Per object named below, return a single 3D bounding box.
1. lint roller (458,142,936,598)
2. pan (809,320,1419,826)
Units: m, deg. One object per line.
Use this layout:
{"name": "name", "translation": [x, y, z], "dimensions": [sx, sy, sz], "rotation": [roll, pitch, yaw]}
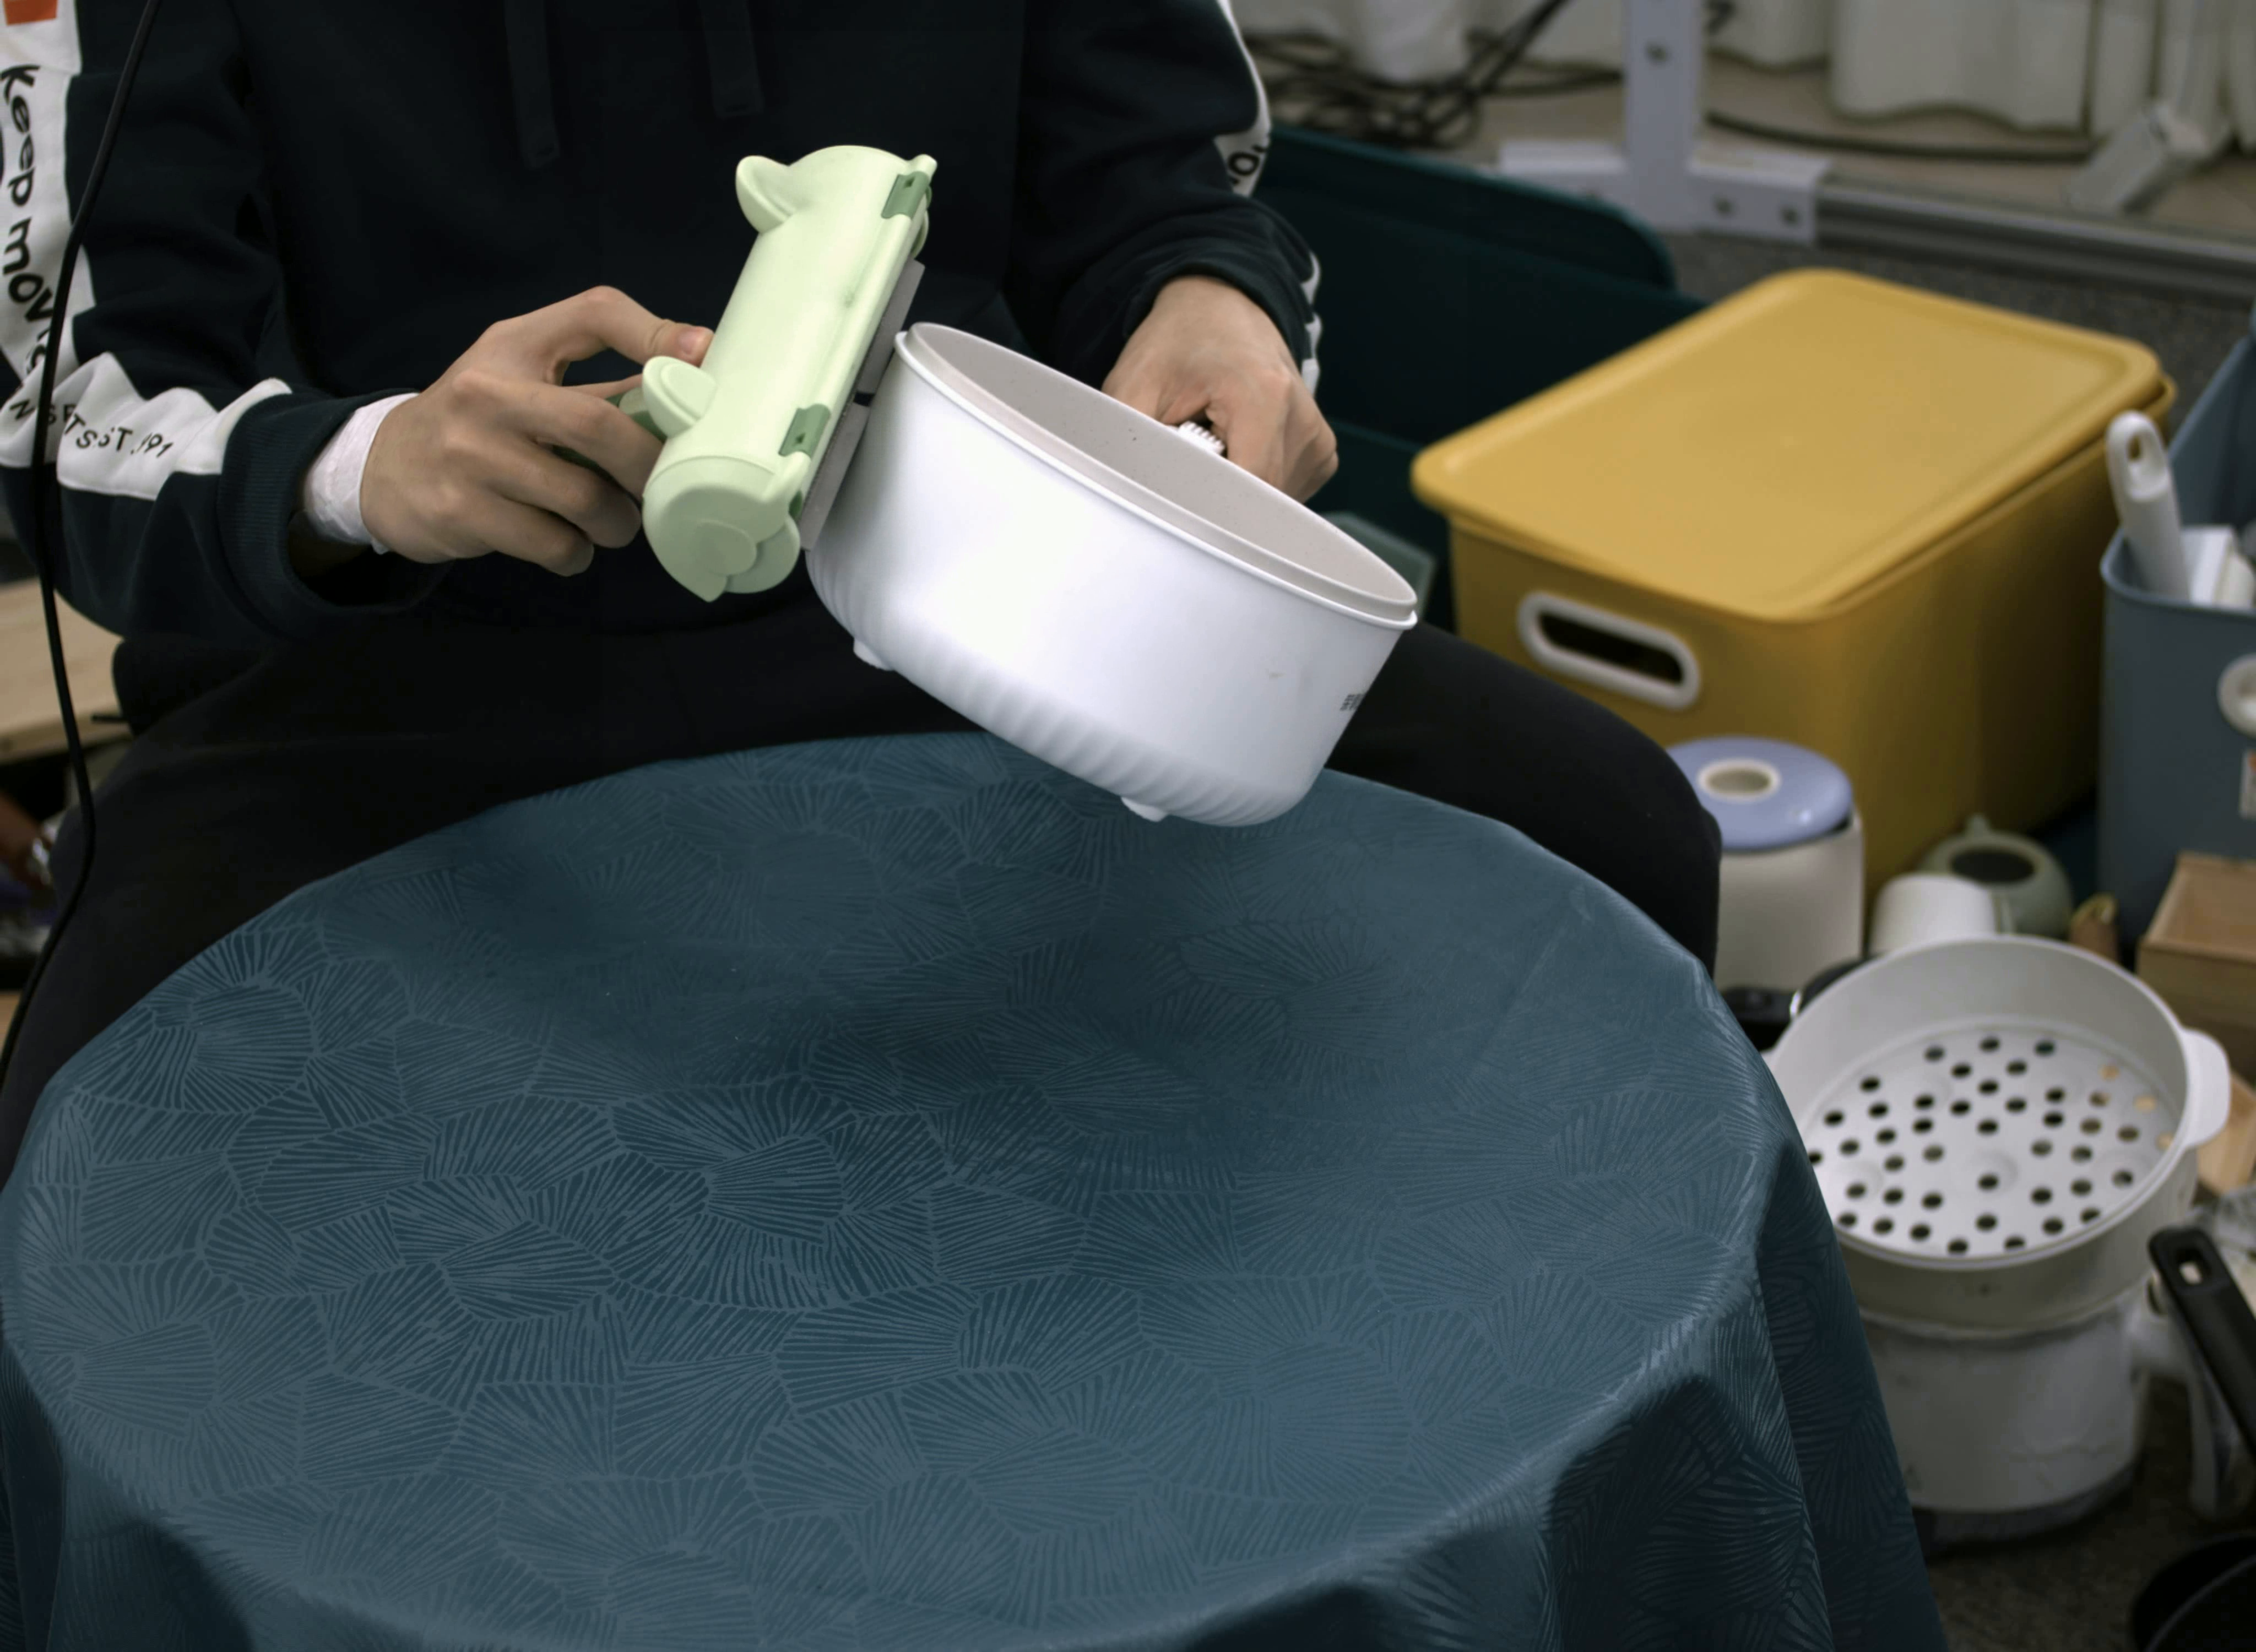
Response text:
{"name": "lint roller", "translation": [-0.164, -0.149, 1.900], "dimensions": [0.181, 0.081, 0.203], "rotation": [-13, 34, 25]}
{"name": "pan", "translation": [-0.001, -0.089, 1.985], "dimensions": [0.201, 0.102, 0.356], "rotation": [29, 9, 3]}
